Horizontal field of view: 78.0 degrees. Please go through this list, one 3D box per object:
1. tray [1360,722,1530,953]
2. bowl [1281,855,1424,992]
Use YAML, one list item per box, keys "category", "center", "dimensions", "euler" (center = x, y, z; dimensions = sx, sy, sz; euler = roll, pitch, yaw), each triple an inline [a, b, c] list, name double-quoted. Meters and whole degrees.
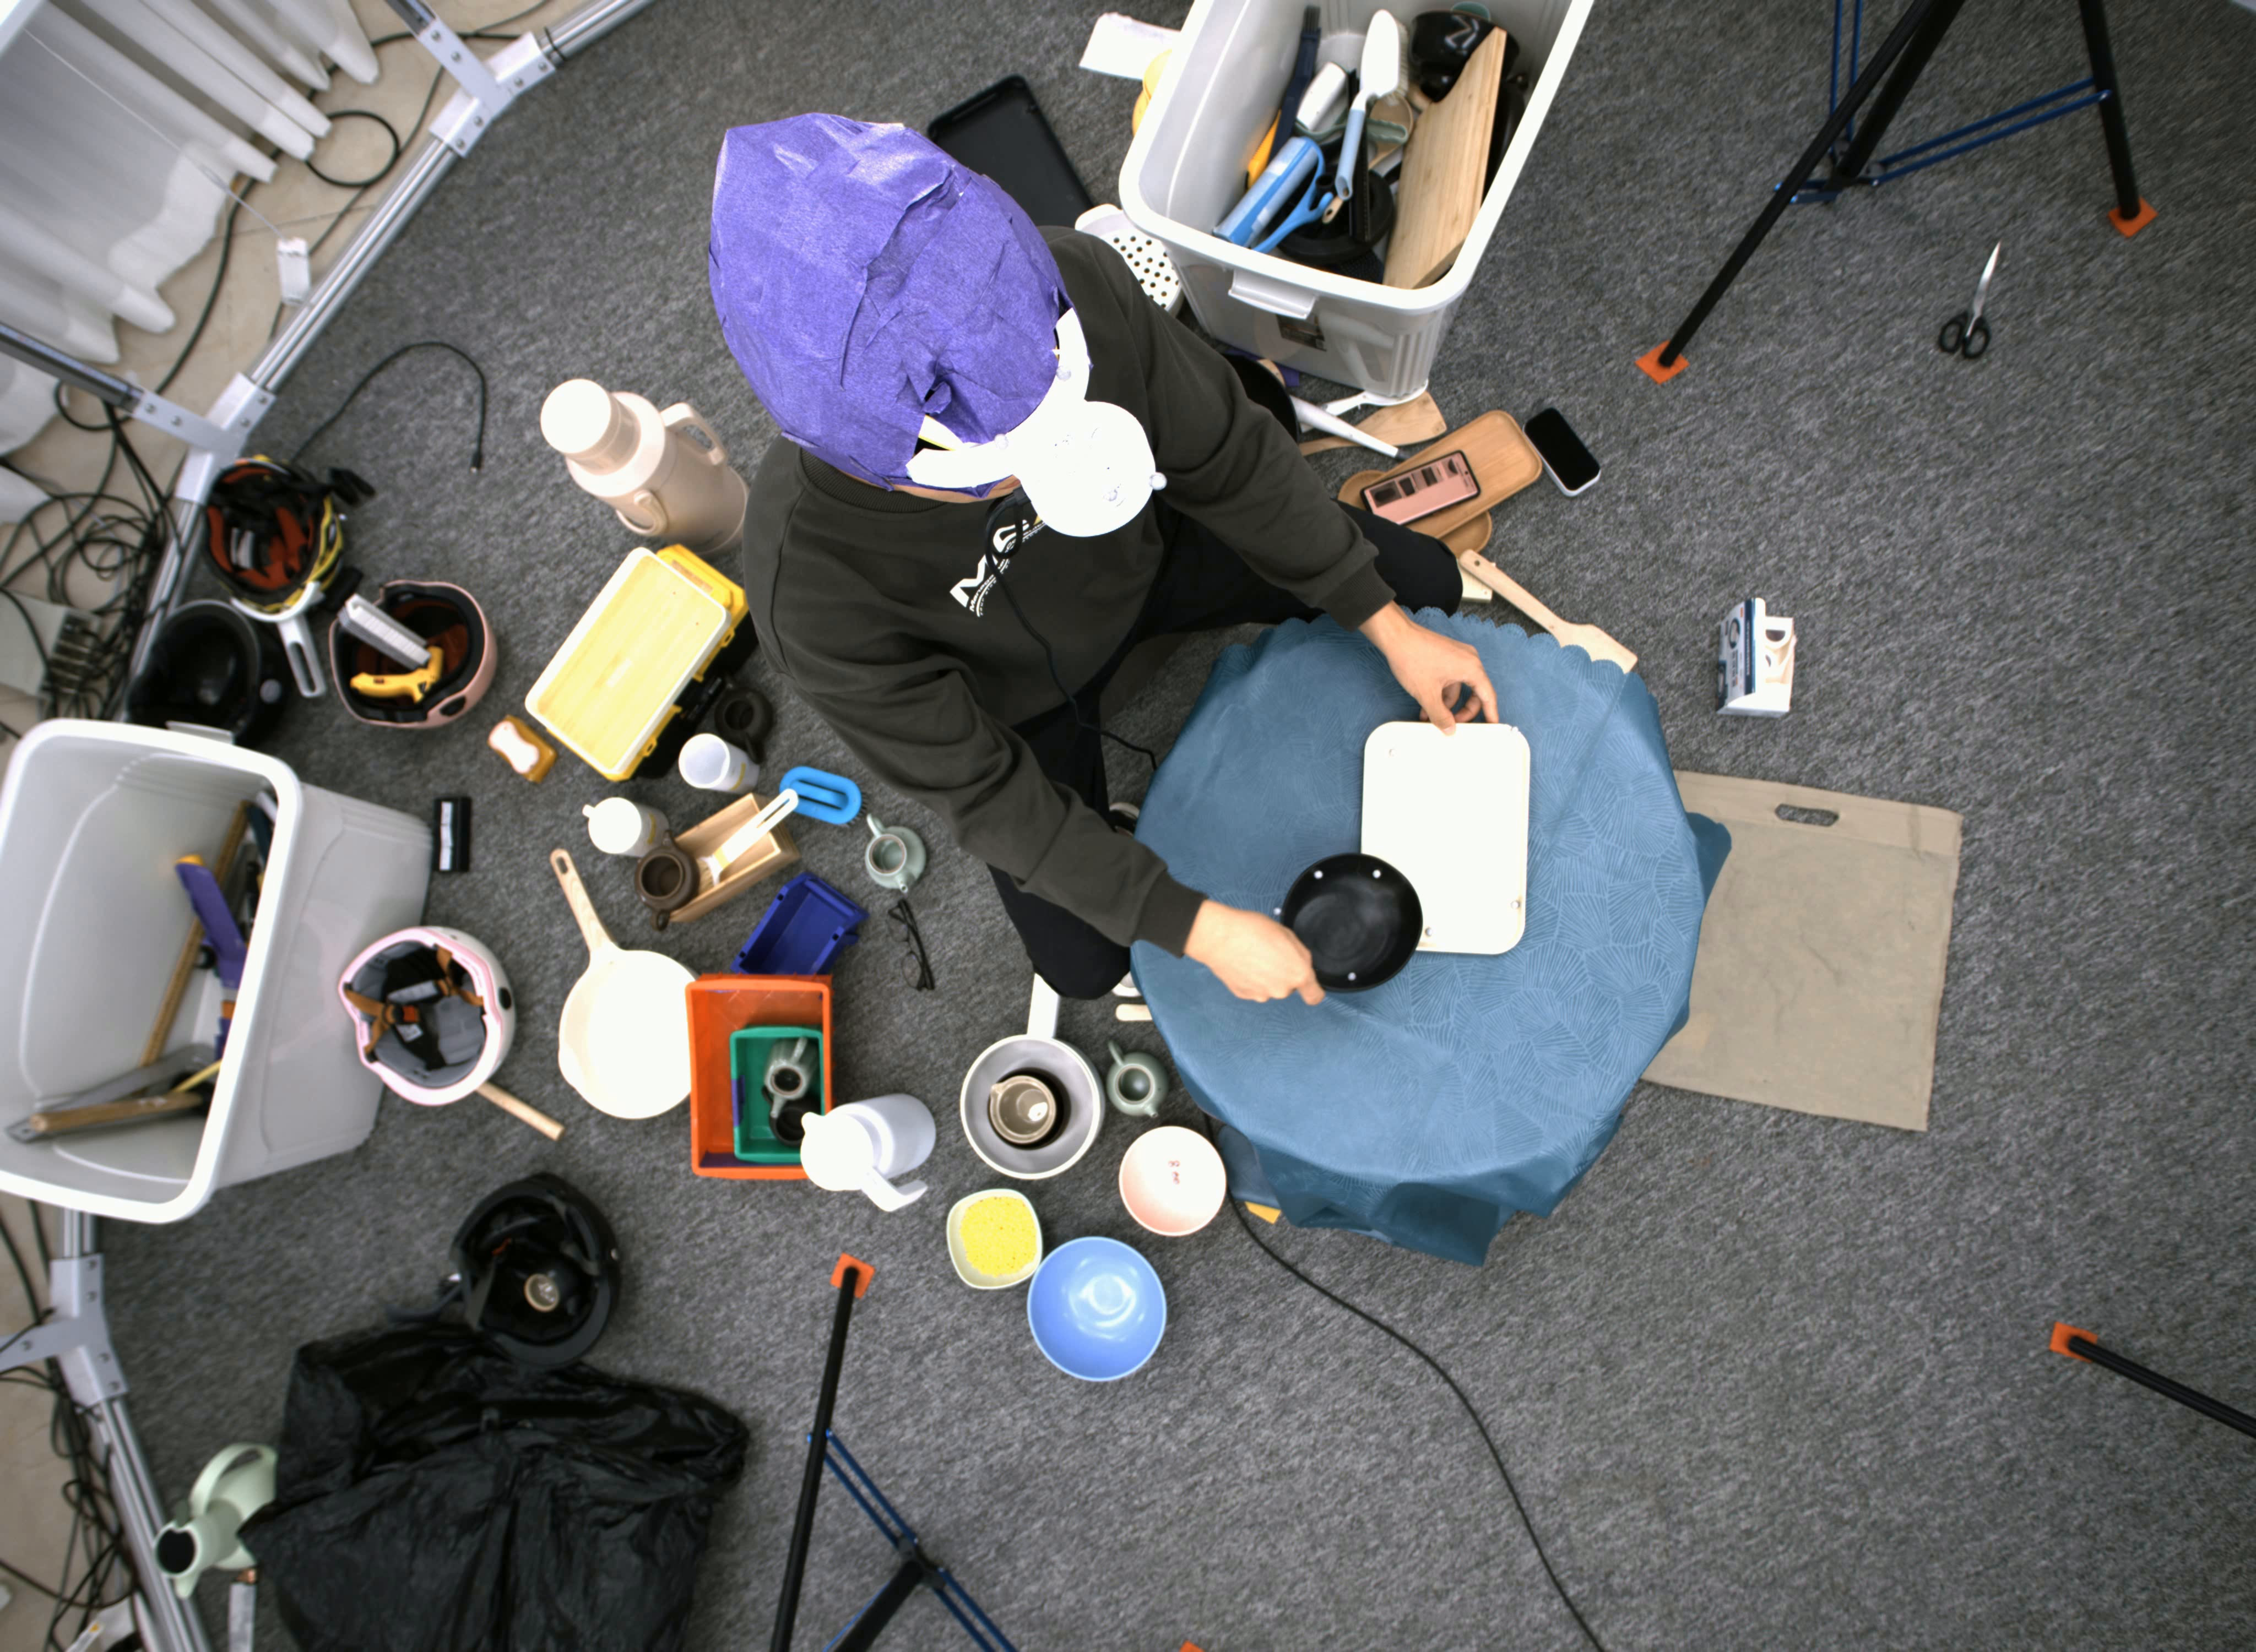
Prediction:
- category: "tray"
  center: [0.331, 0.009, 1.439]
  dimensions: [0.172, 0.017, 0.239]
  euler: [2, 89, 12]
- category: "bowl"
  center: [0.220, 0.103, 1.405]
  dimensions: [0.167, 0.068, 0.137]
  euler: [-37, 81, -27]
